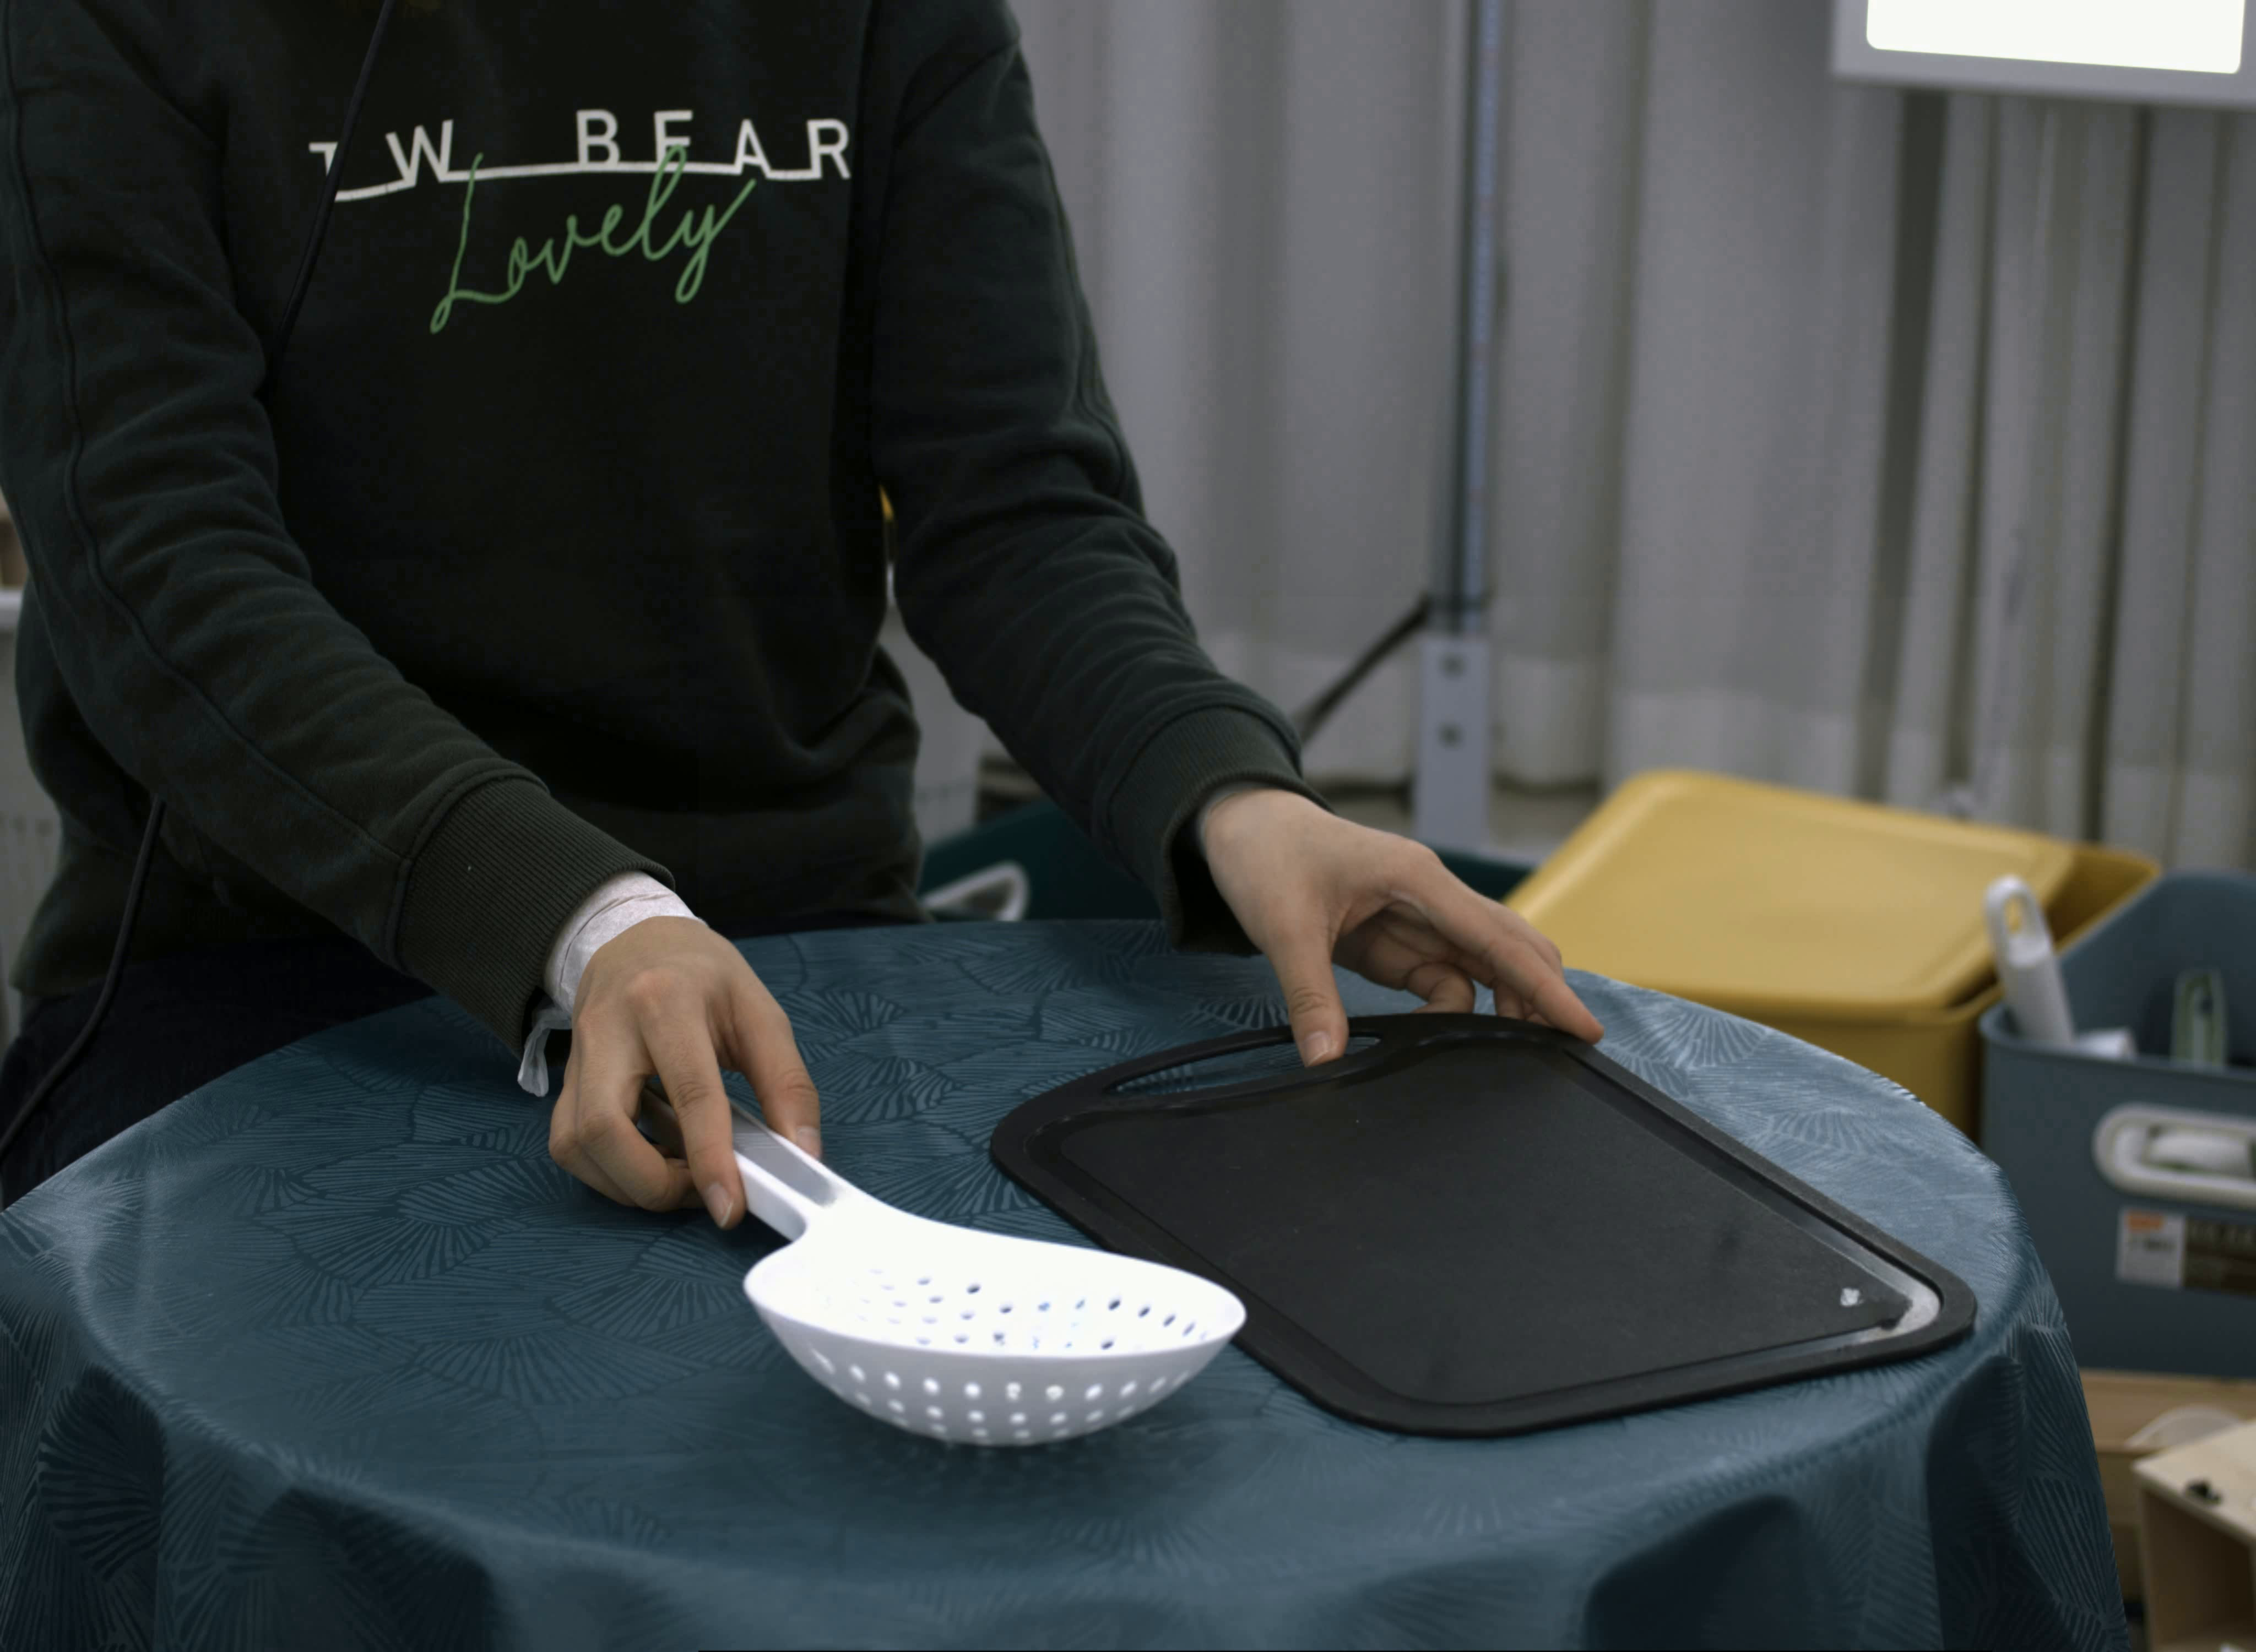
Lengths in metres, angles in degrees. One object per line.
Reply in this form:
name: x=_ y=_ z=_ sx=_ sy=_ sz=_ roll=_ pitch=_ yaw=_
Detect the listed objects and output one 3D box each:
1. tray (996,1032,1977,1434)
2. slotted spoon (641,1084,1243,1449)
tray: x=0.097 y=0.115 z=1.600 sx=0.212 sy=0.010 sz=0.321 roll=-8 pitch=18 yaw=-24
slotted spoon: x=-0.078 y=0.117 z=1.521 sx=0.136 sy=0.046 sz=0.346 roll=2 pitch=13 yaw=-24
